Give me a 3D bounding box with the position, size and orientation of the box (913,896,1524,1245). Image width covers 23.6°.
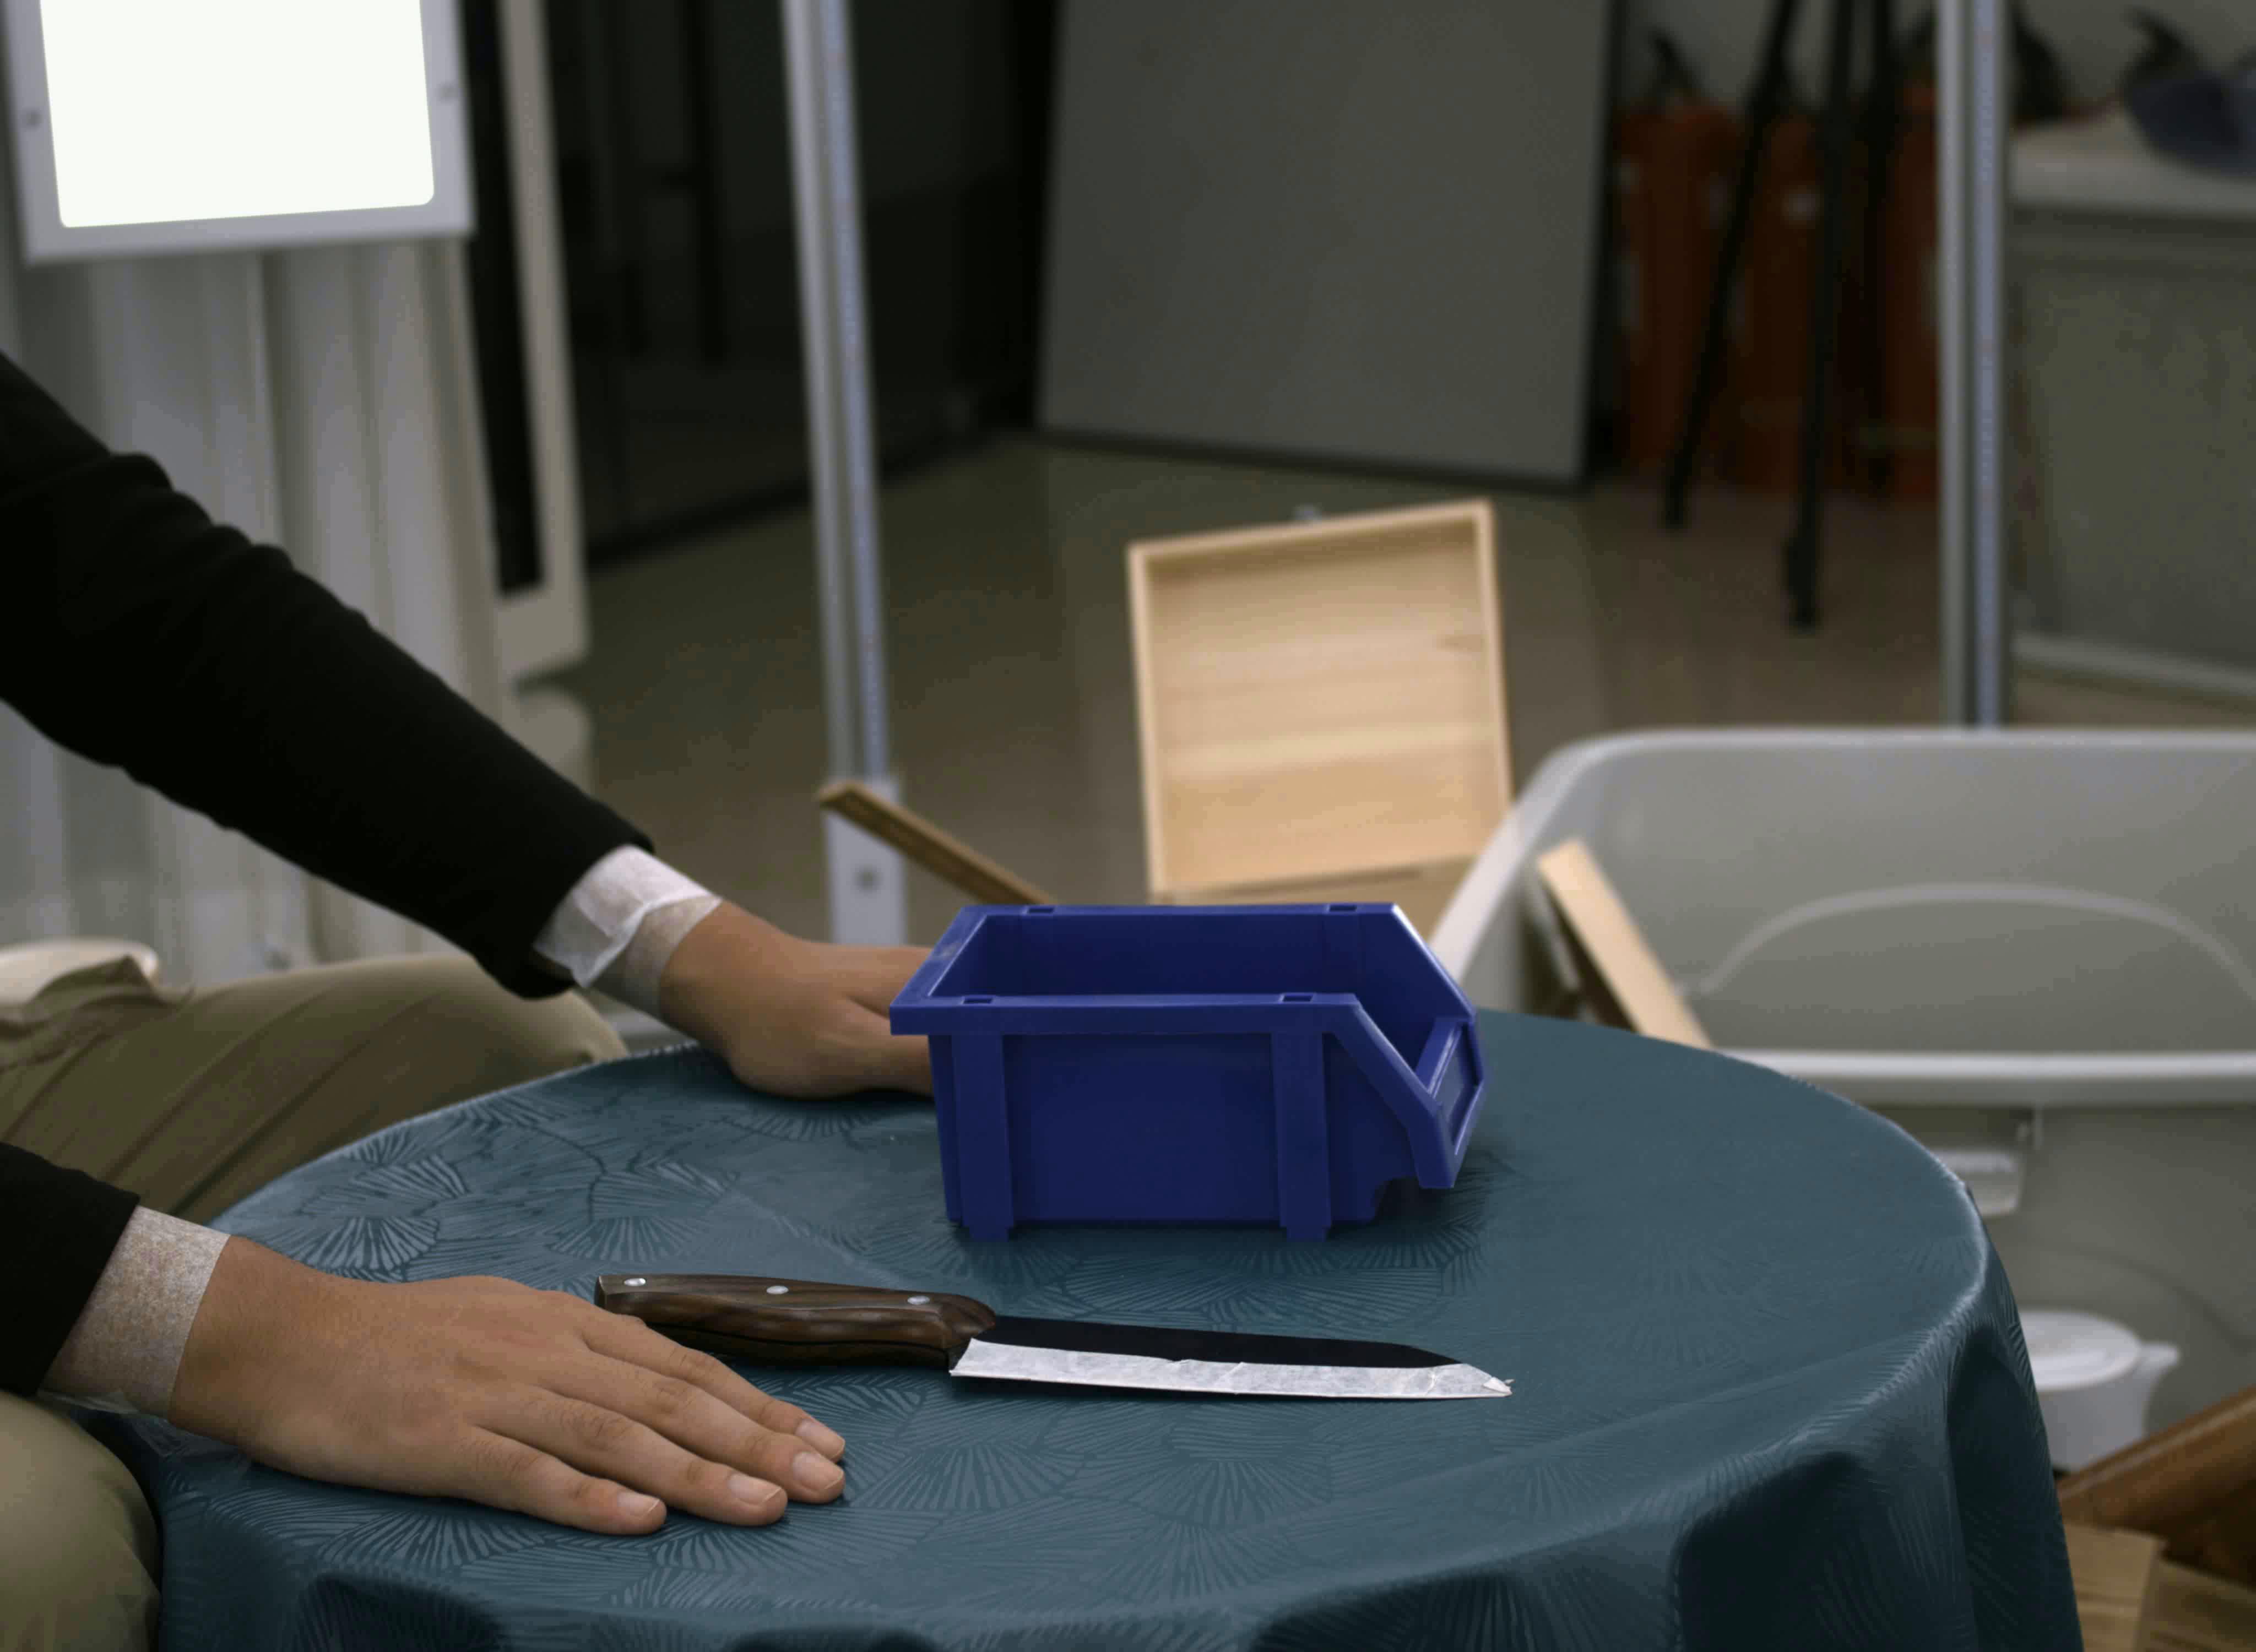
[{"bbox_3d":[0.033,0.078,1.763,0.178,0.083,0.124,-3,13,14],"label":"box"}]

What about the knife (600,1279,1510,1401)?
[{"bbox_3d":[-0.025,0.156,1.606,0.288,0.020,0.050,3,20,17],"label":"knife"}]
